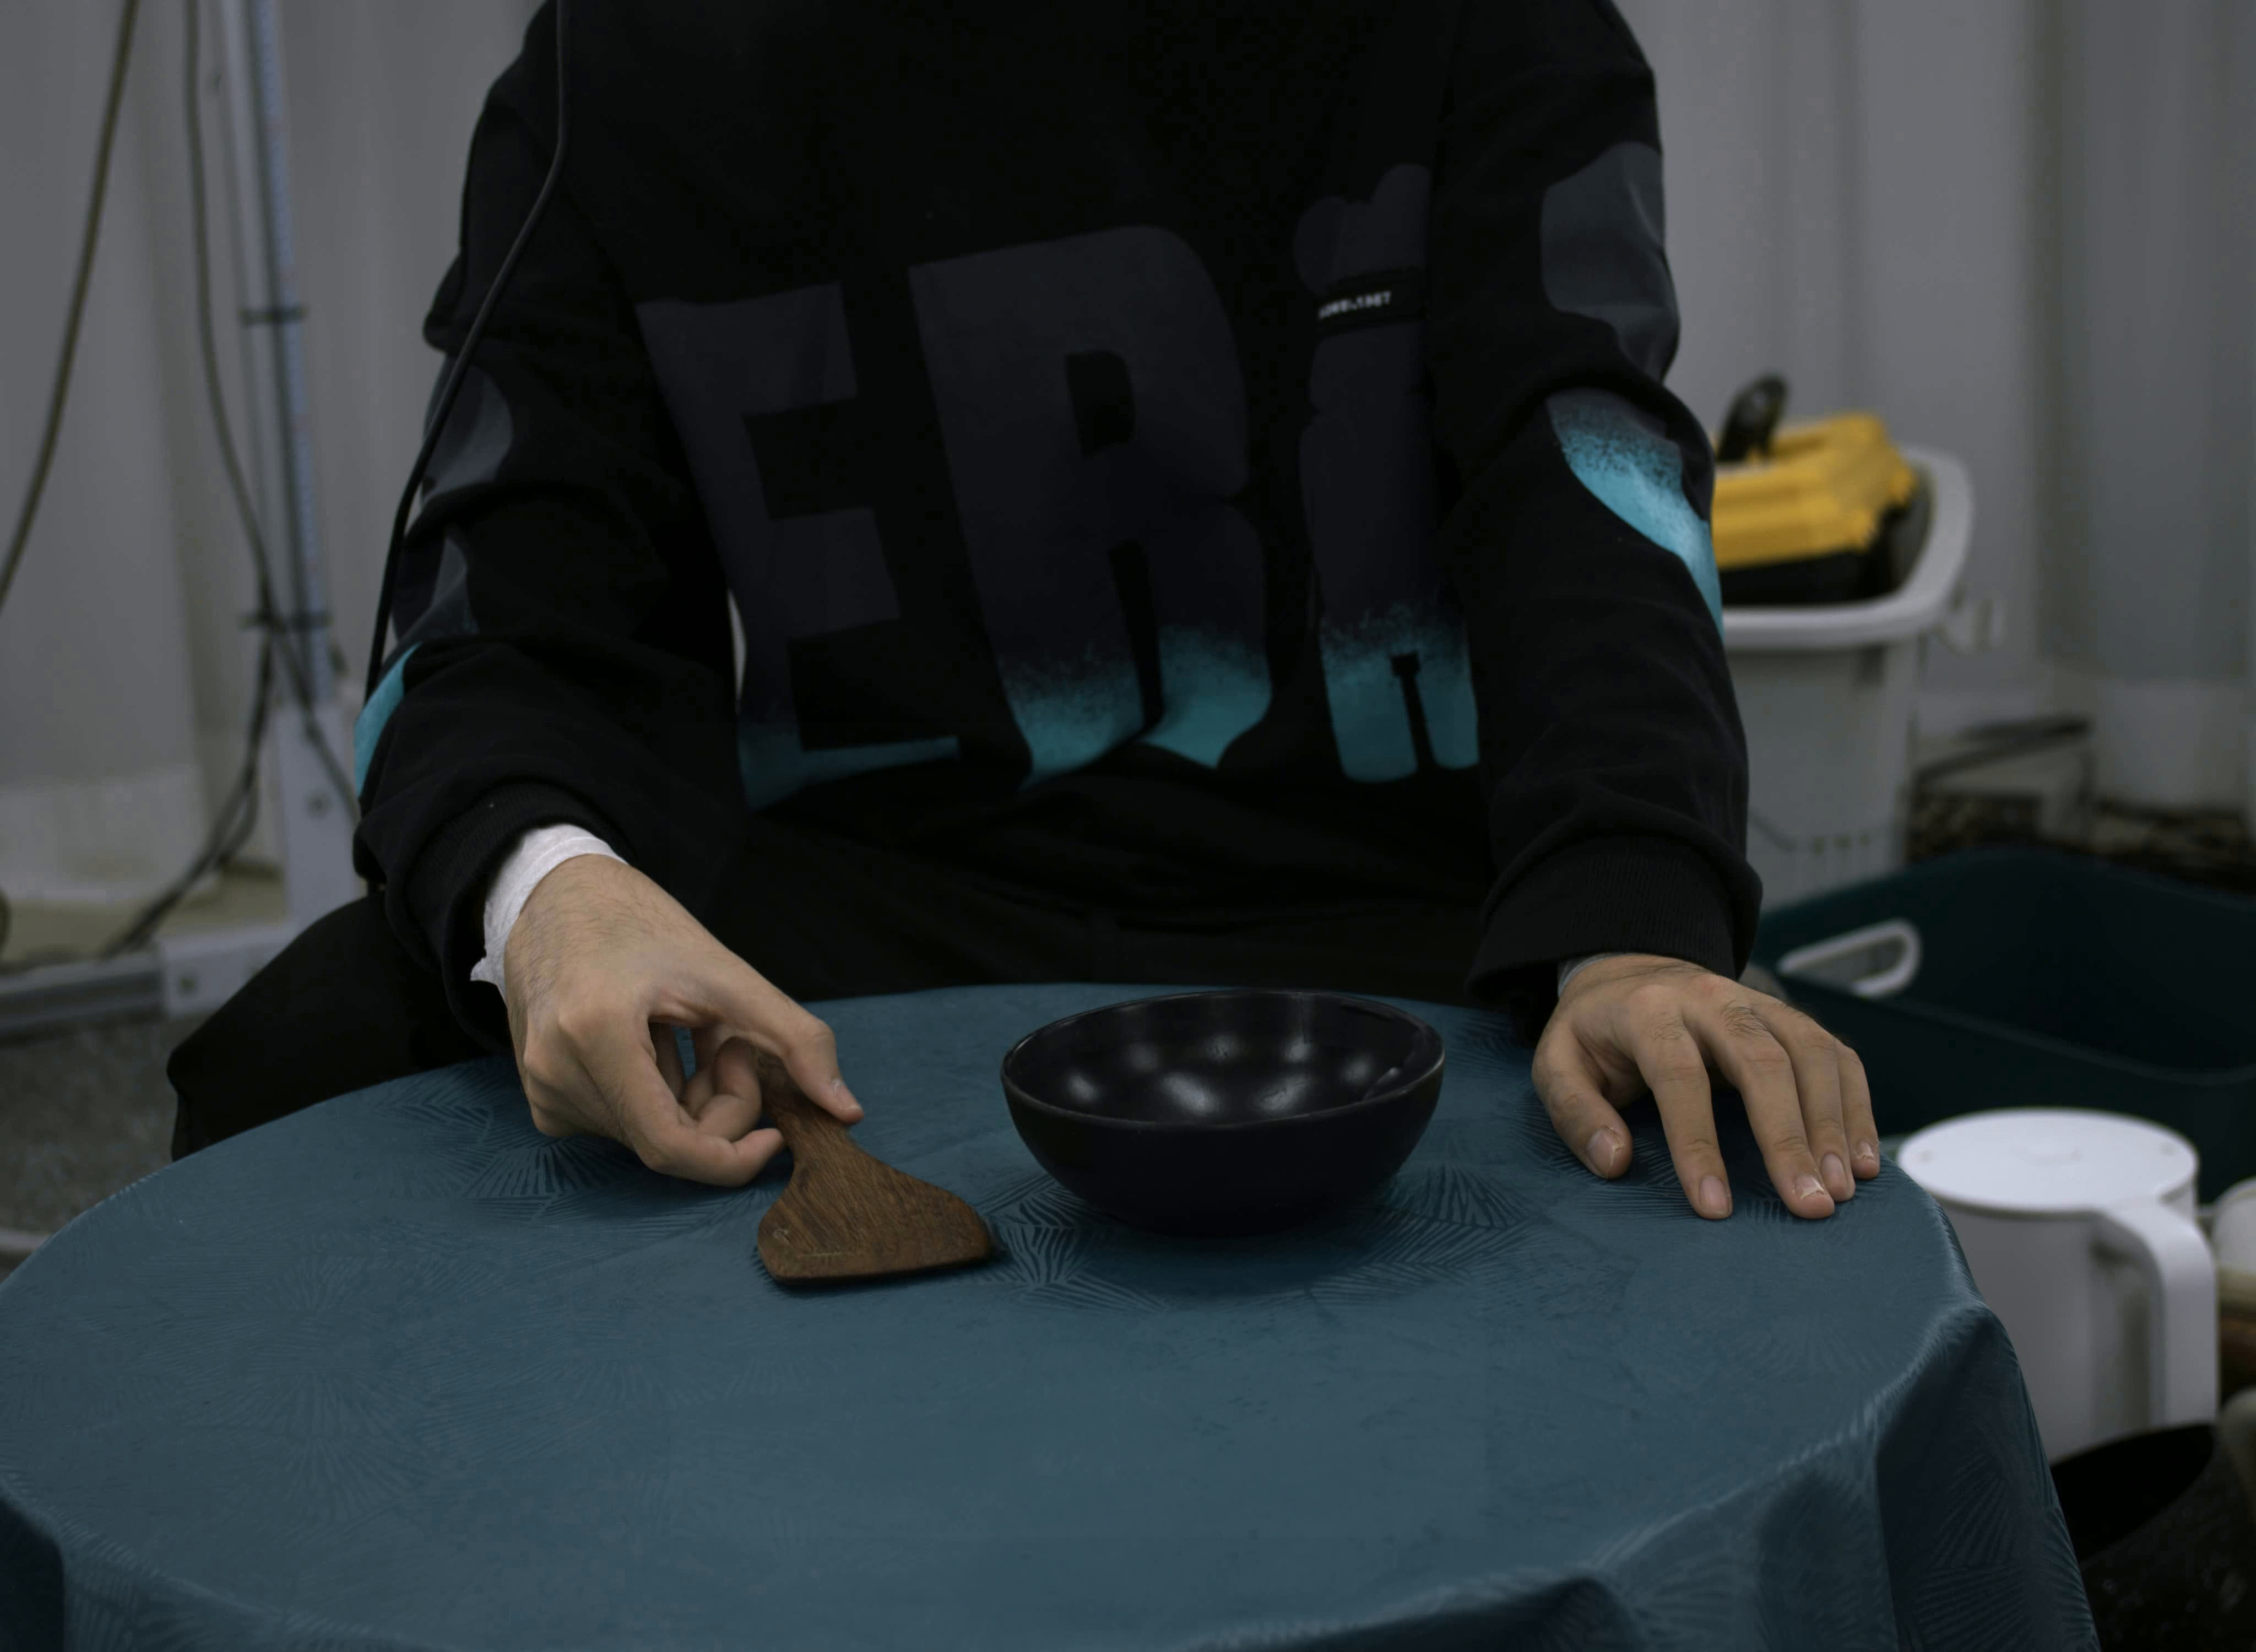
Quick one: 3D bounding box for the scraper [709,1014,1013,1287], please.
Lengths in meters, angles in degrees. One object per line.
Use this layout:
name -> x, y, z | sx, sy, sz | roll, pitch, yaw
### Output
scraper -> -0.098, 0.102, 1.735 | 0.075, 0.011, 0.213 | -6, 22, -15

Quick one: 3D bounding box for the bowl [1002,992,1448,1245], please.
bowl -> 0.032, 0.095, 1.692 | 0.139, 0.049, 0.141 | -5, 14, 1
